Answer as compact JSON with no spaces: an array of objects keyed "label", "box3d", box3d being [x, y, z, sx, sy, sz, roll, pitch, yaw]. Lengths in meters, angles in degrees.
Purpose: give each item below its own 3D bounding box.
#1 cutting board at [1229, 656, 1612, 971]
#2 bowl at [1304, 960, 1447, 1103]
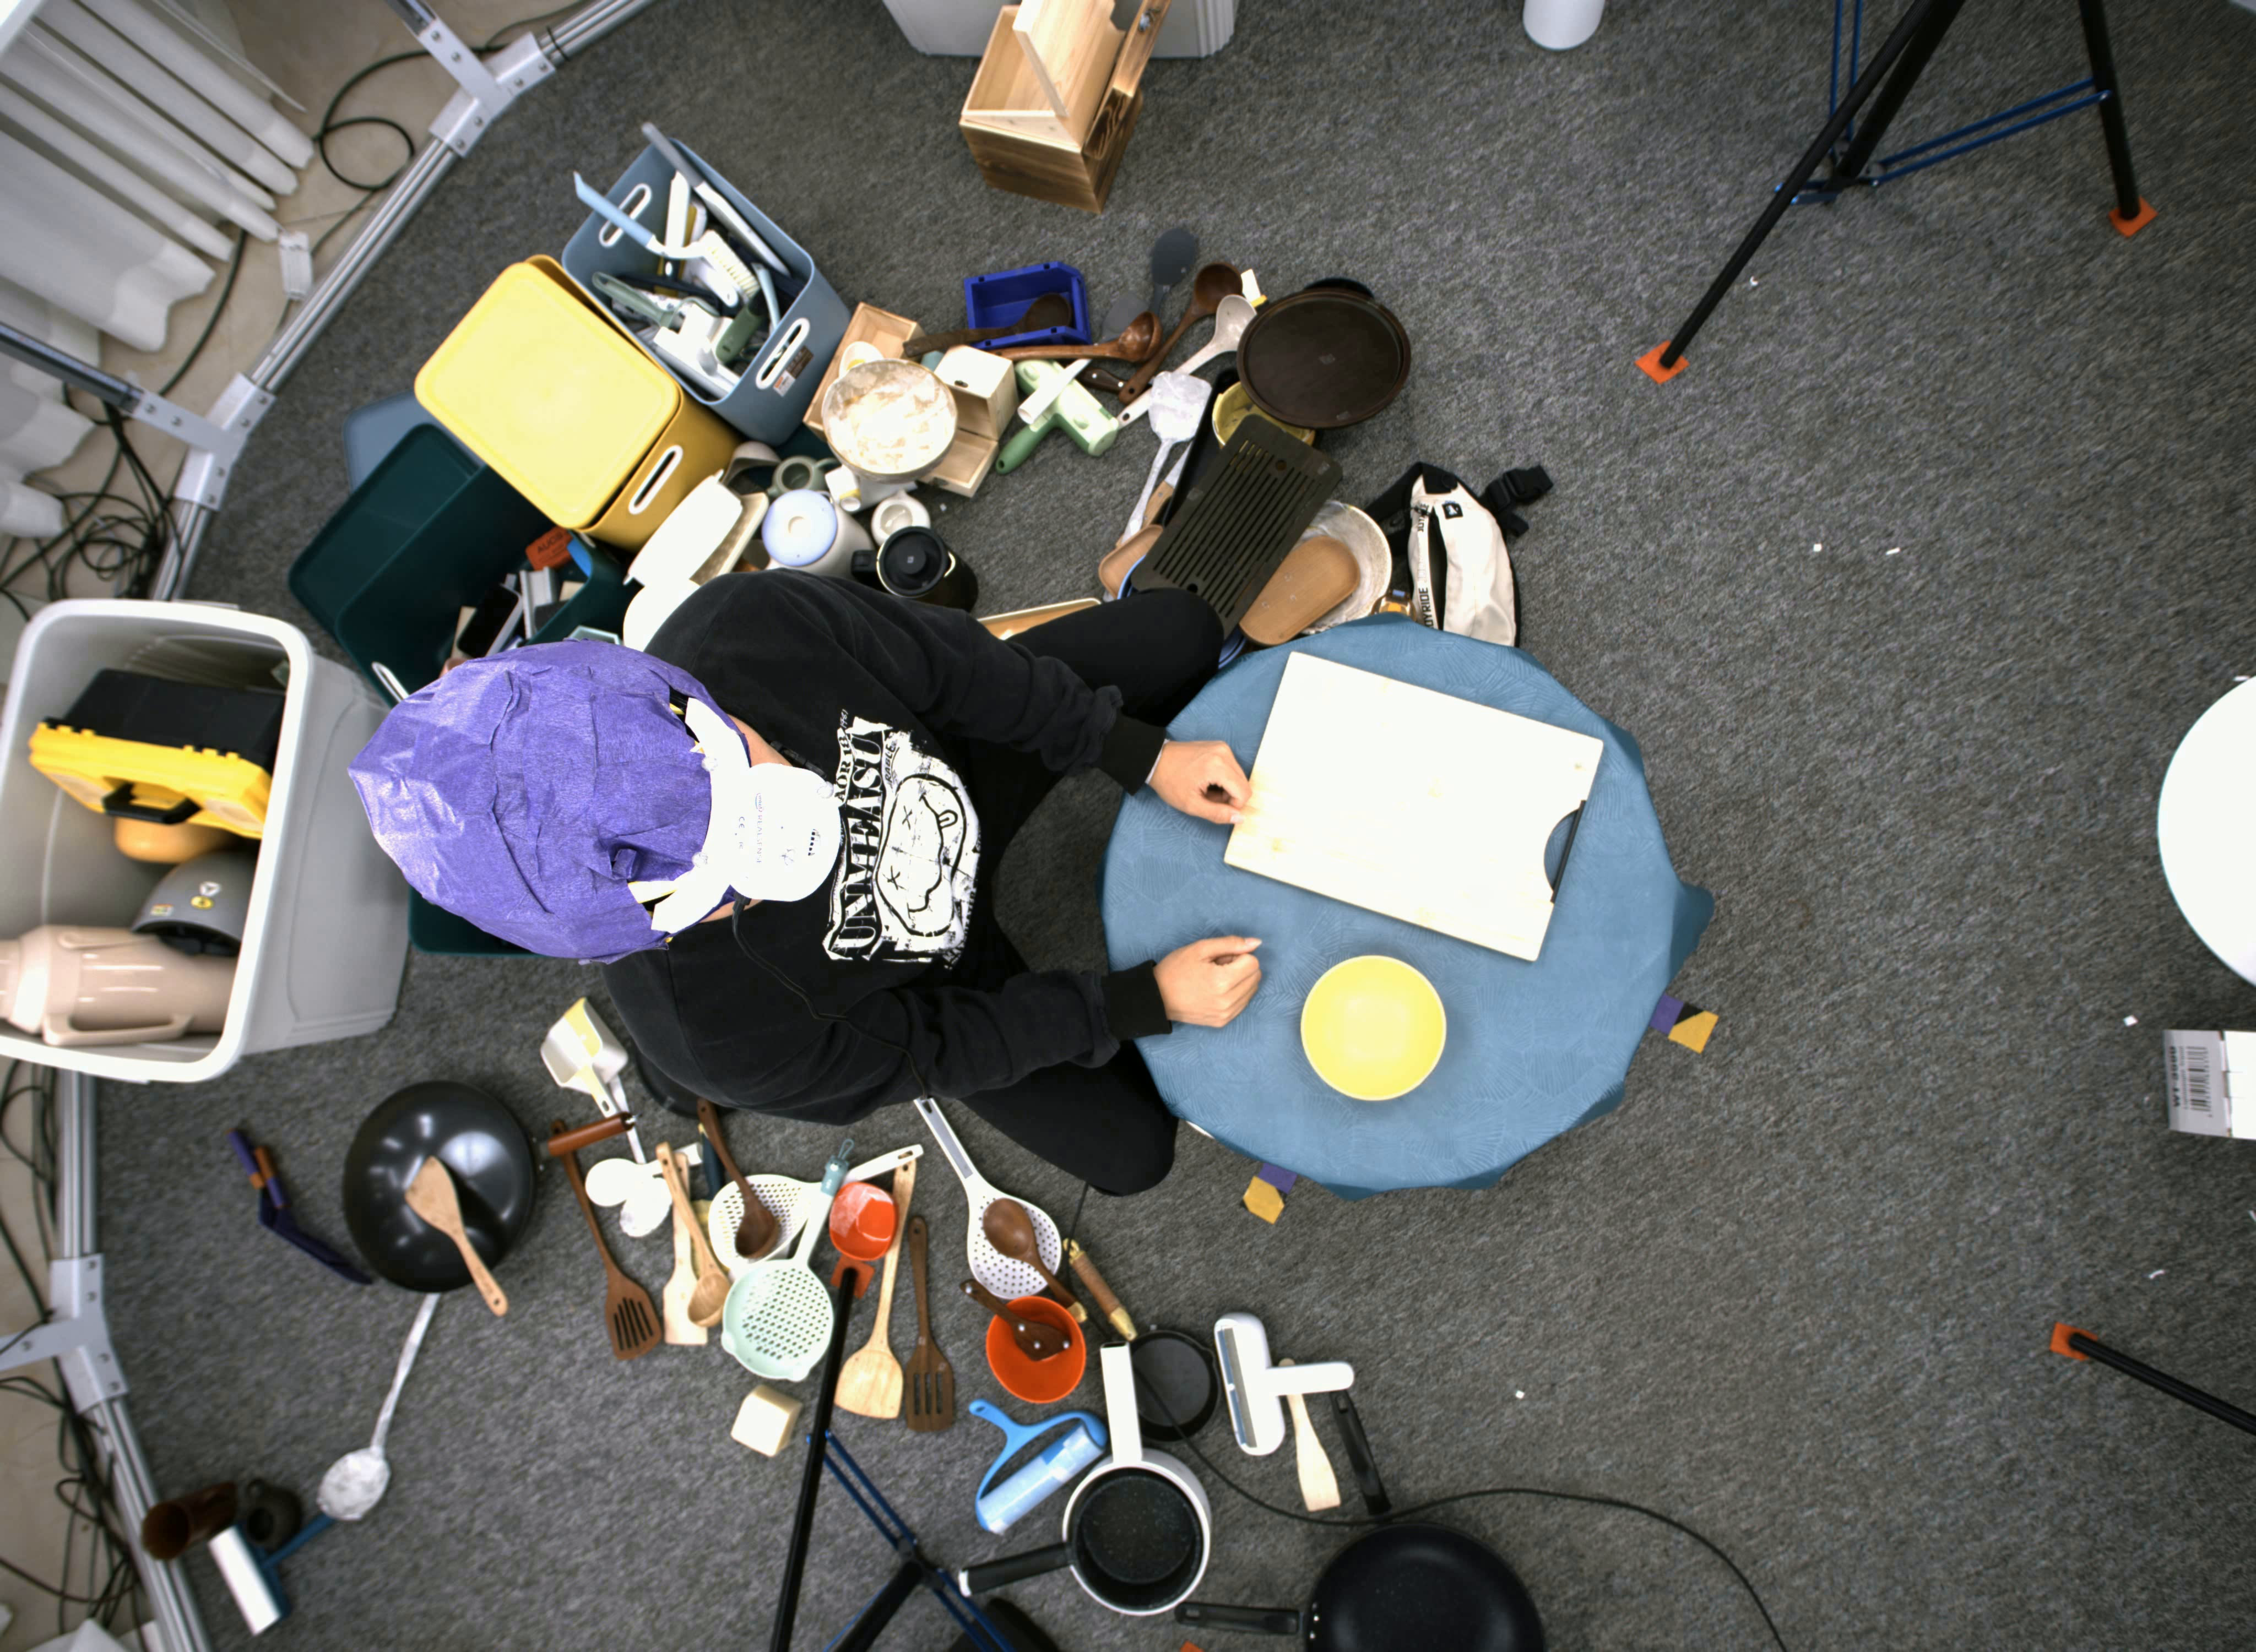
[{"label":"cutting board","box3d":[0.306,-0.019,1.456,0.349,0.023,0.250,17,90,11]},{"label":"bowl","box3d":[0.255,0.211,1.430,0.146,0.060,0.144,-2,82,11]}]
